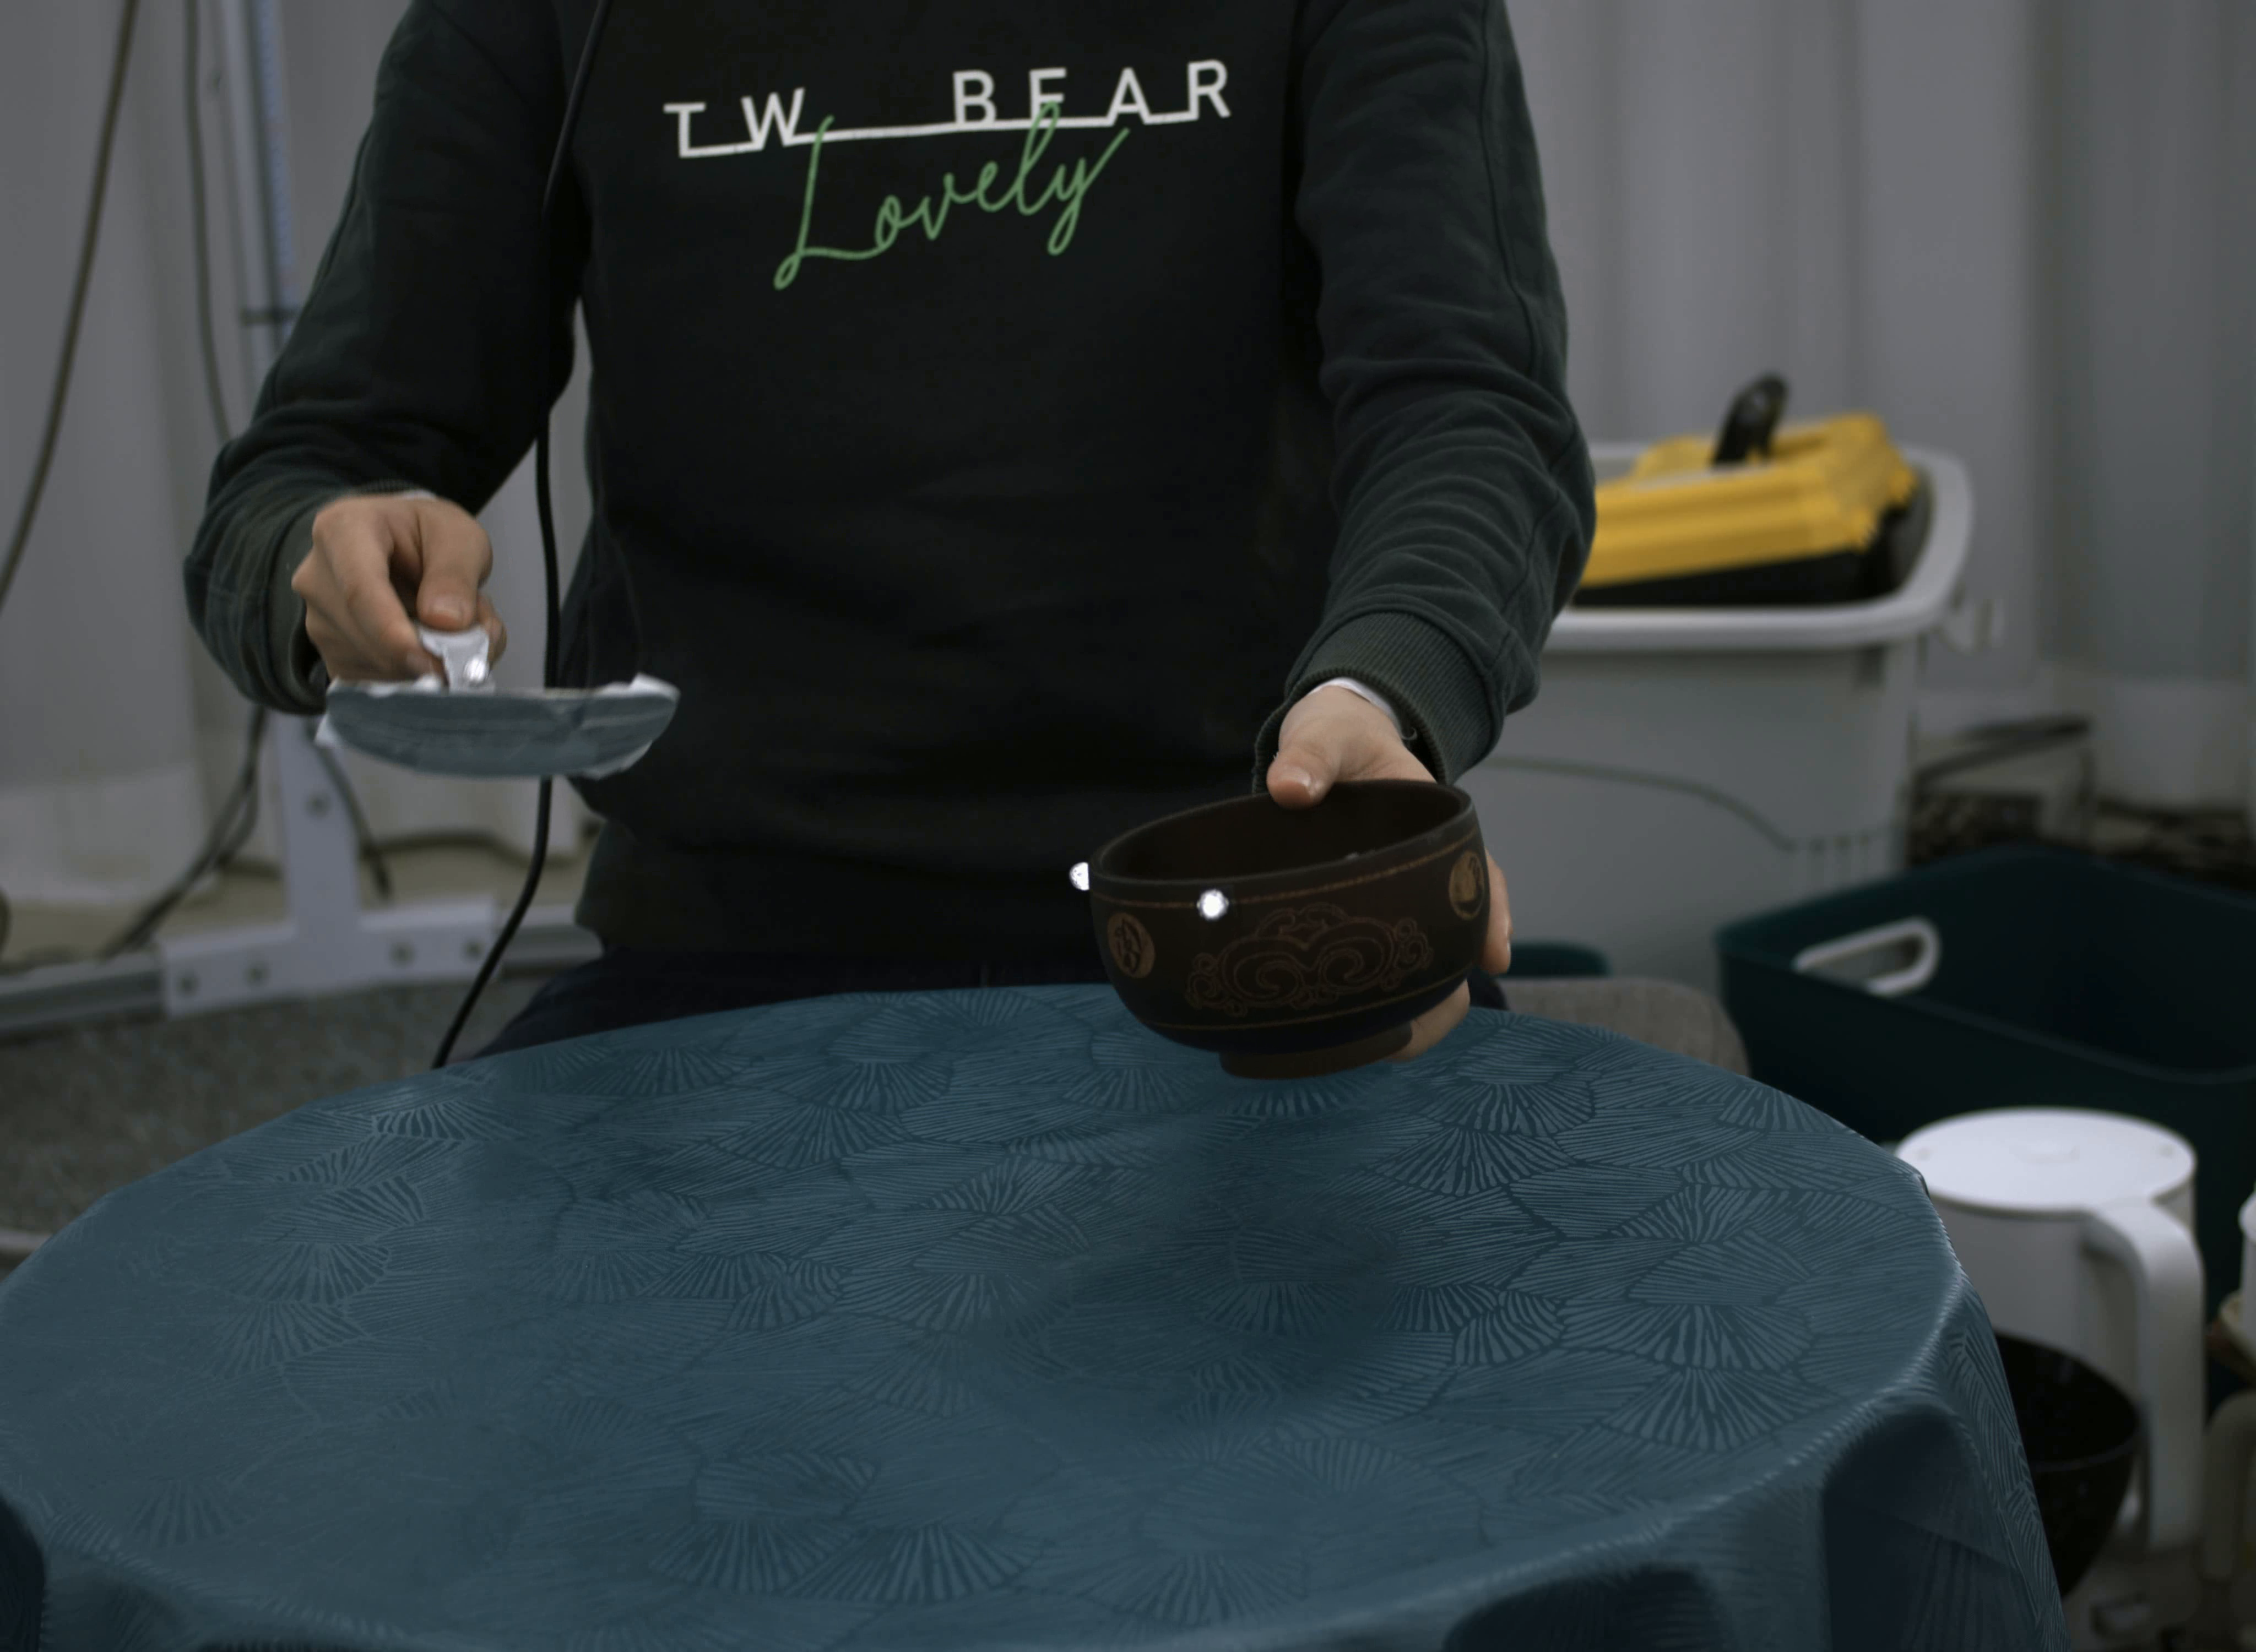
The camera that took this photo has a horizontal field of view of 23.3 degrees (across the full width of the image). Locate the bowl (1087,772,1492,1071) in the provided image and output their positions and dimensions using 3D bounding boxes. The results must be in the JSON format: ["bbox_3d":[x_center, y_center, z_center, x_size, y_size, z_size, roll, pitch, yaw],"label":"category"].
[{"bbox_3d":[0.050,0.031,1.606,0.117,0.070,0.118,-9,10,1],"label":"bowl"}]

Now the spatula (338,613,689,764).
[{"bbox_3d":[-0.196,-0.054,1.678,0.098,0.045,0.367,-1,10,-9],"label":"spatula"}]
